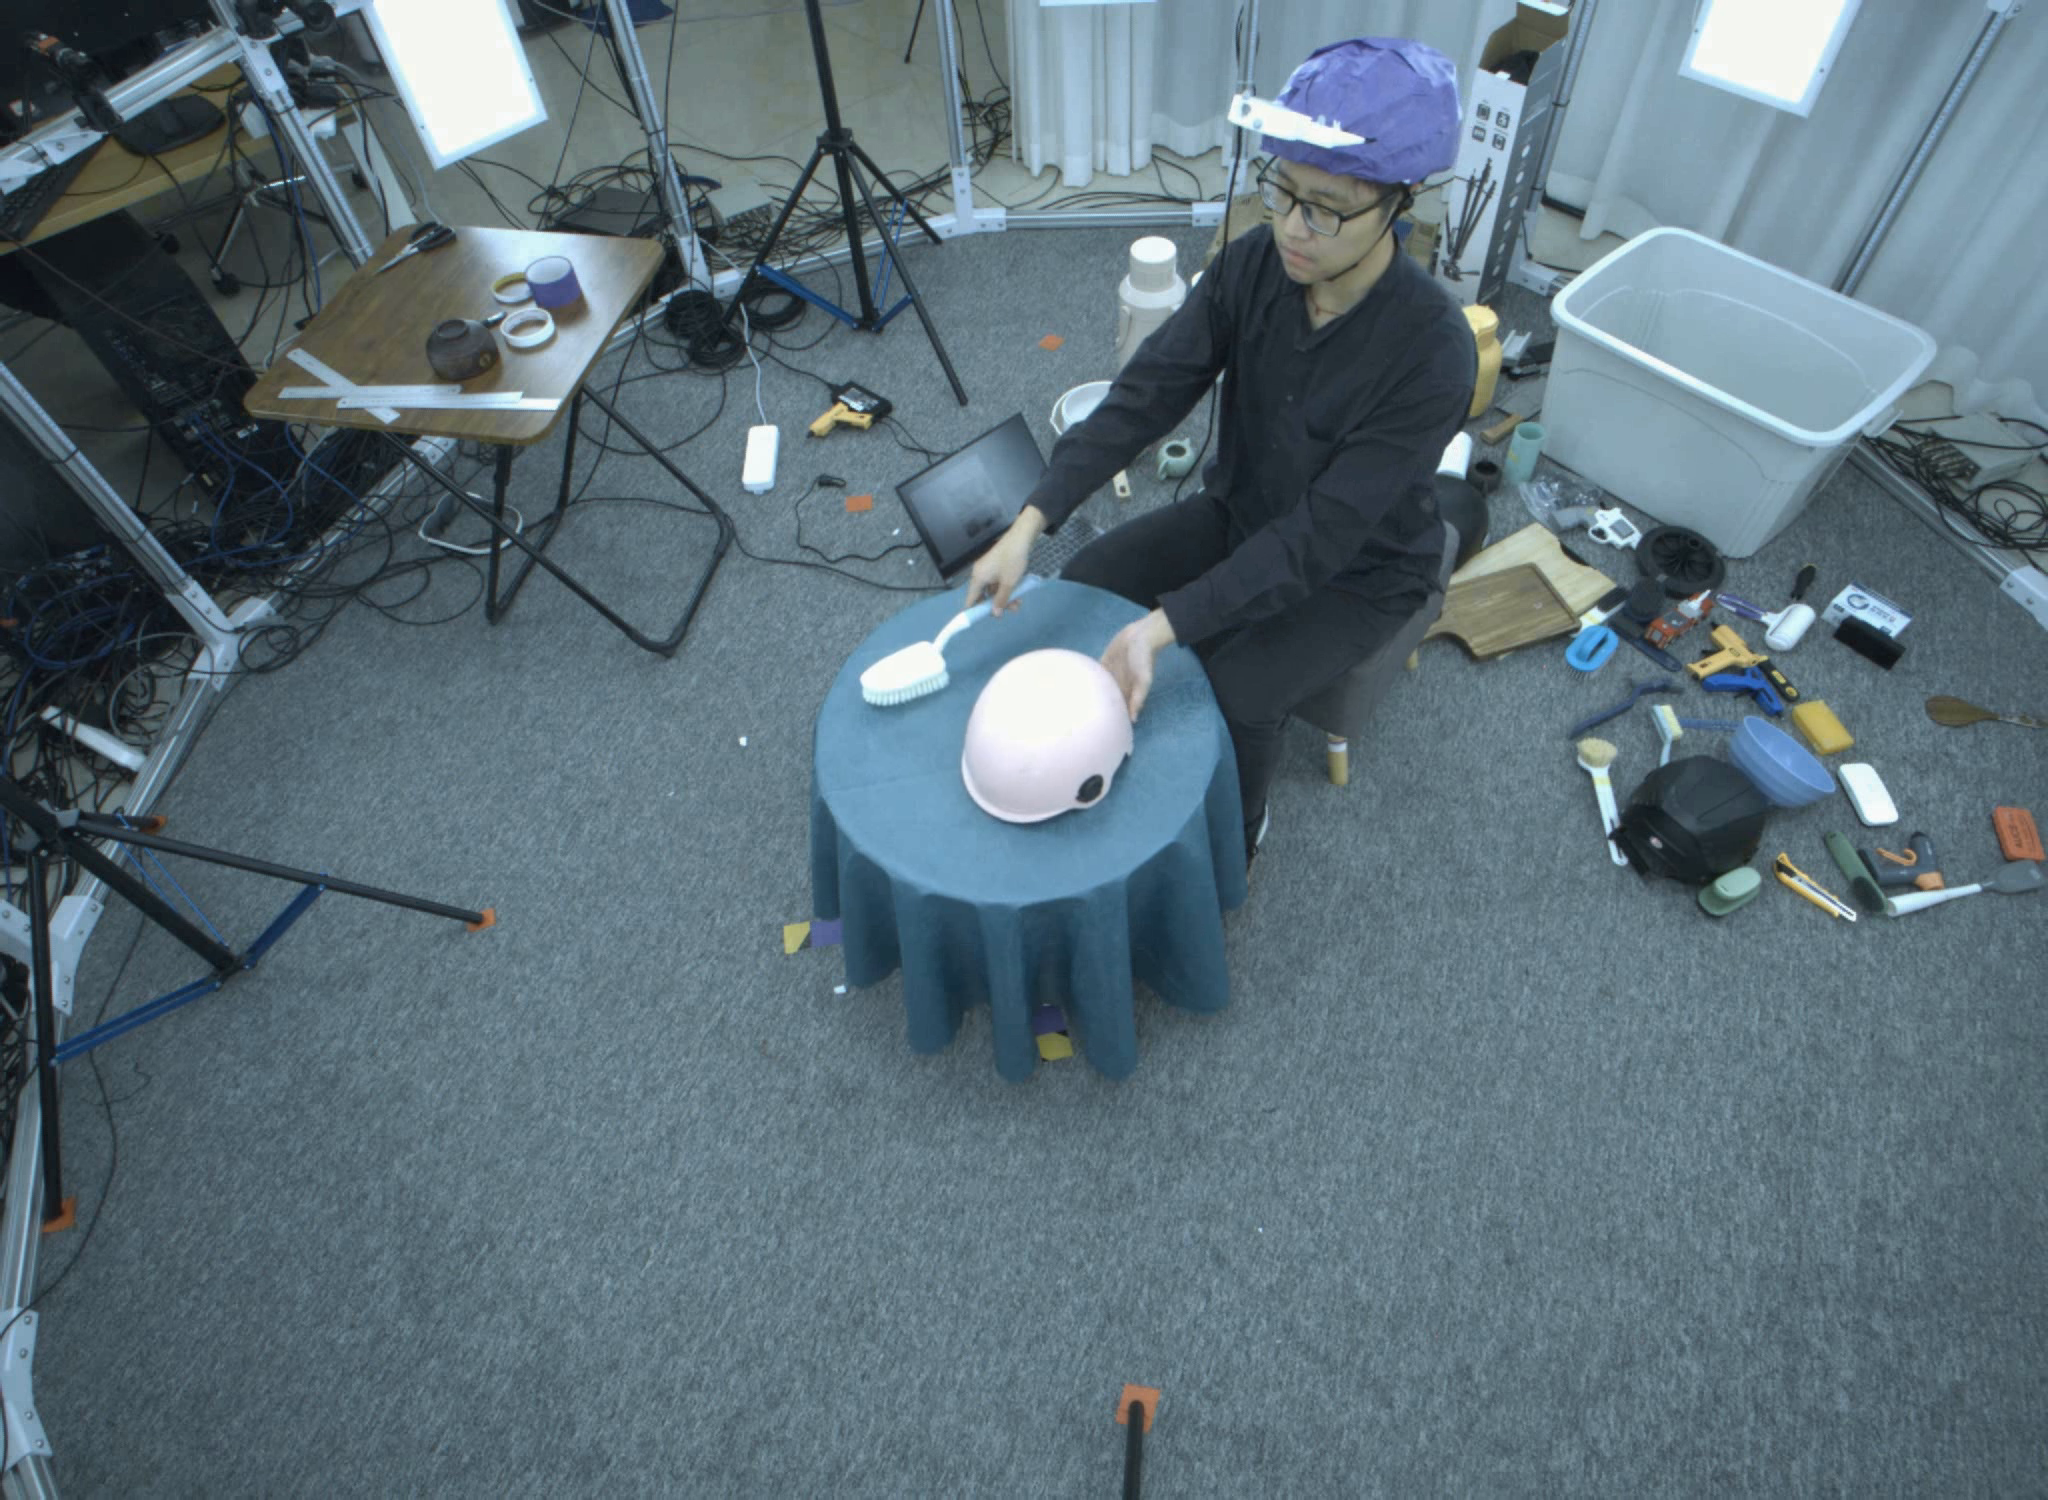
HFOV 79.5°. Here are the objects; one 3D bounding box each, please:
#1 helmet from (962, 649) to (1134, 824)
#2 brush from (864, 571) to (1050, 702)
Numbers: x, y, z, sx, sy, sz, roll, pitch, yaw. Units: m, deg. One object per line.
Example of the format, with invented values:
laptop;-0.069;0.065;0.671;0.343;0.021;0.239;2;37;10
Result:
helmet;0.026;-0.037;1.721;0.230;0.161;0.267;35;67;23
brush;-0.093;-0.162;1.857;0.326;0.084;0.083;-31;95;-8
